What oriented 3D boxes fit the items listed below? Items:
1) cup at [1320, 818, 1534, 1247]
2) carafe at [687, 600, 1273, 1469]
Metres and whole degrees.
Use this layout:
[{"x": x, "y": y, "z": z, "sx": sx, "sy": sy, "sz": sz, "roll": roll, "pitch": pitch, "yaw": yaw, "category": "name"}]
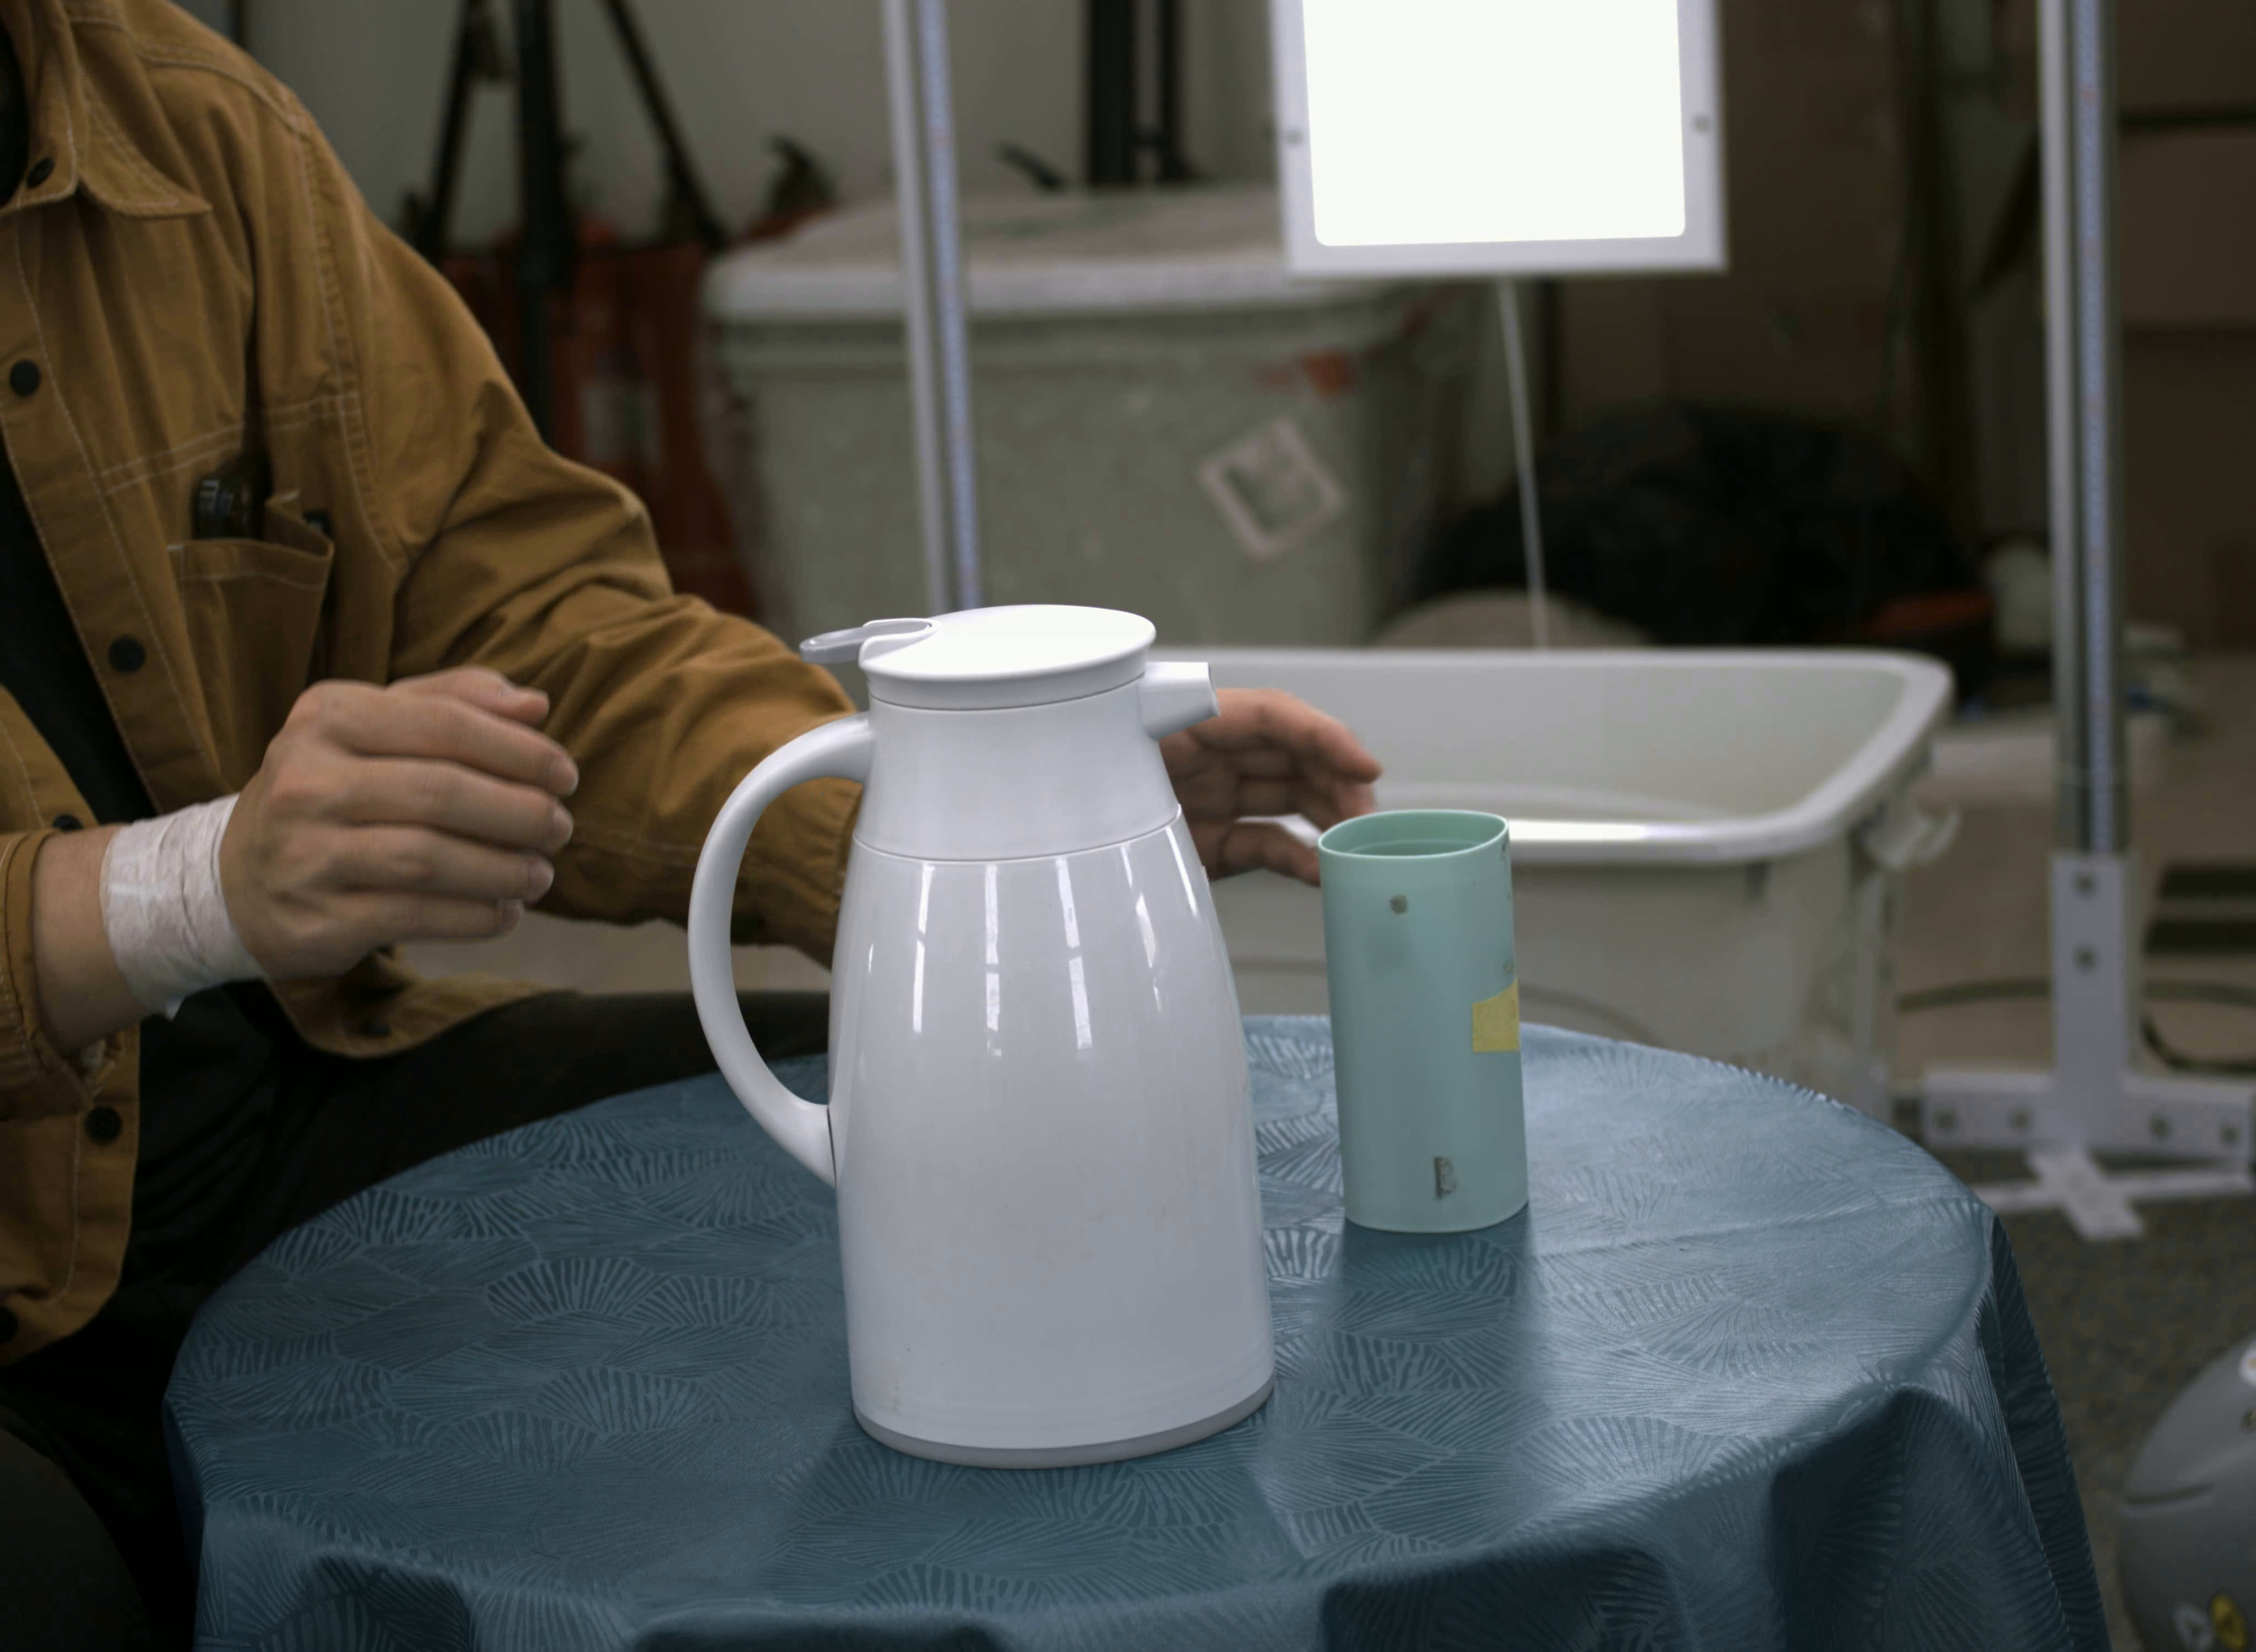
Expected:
[{"x": 0.100, "y": 0.068, "z": 1.840, "sx": 0.066, "sy": 0.133, "sz": 0.066, "roll": -5, "pitch": 13, "yaw": 0, "category": "cup"}, {"x": -0.048, "y": 0.058, "z": 1.675, "sx": 0.167, "sy": 0.249, "sz": 0.132, "roll": -5, "pitch": 14, "yaw": 2, "category": "carafe"}]
